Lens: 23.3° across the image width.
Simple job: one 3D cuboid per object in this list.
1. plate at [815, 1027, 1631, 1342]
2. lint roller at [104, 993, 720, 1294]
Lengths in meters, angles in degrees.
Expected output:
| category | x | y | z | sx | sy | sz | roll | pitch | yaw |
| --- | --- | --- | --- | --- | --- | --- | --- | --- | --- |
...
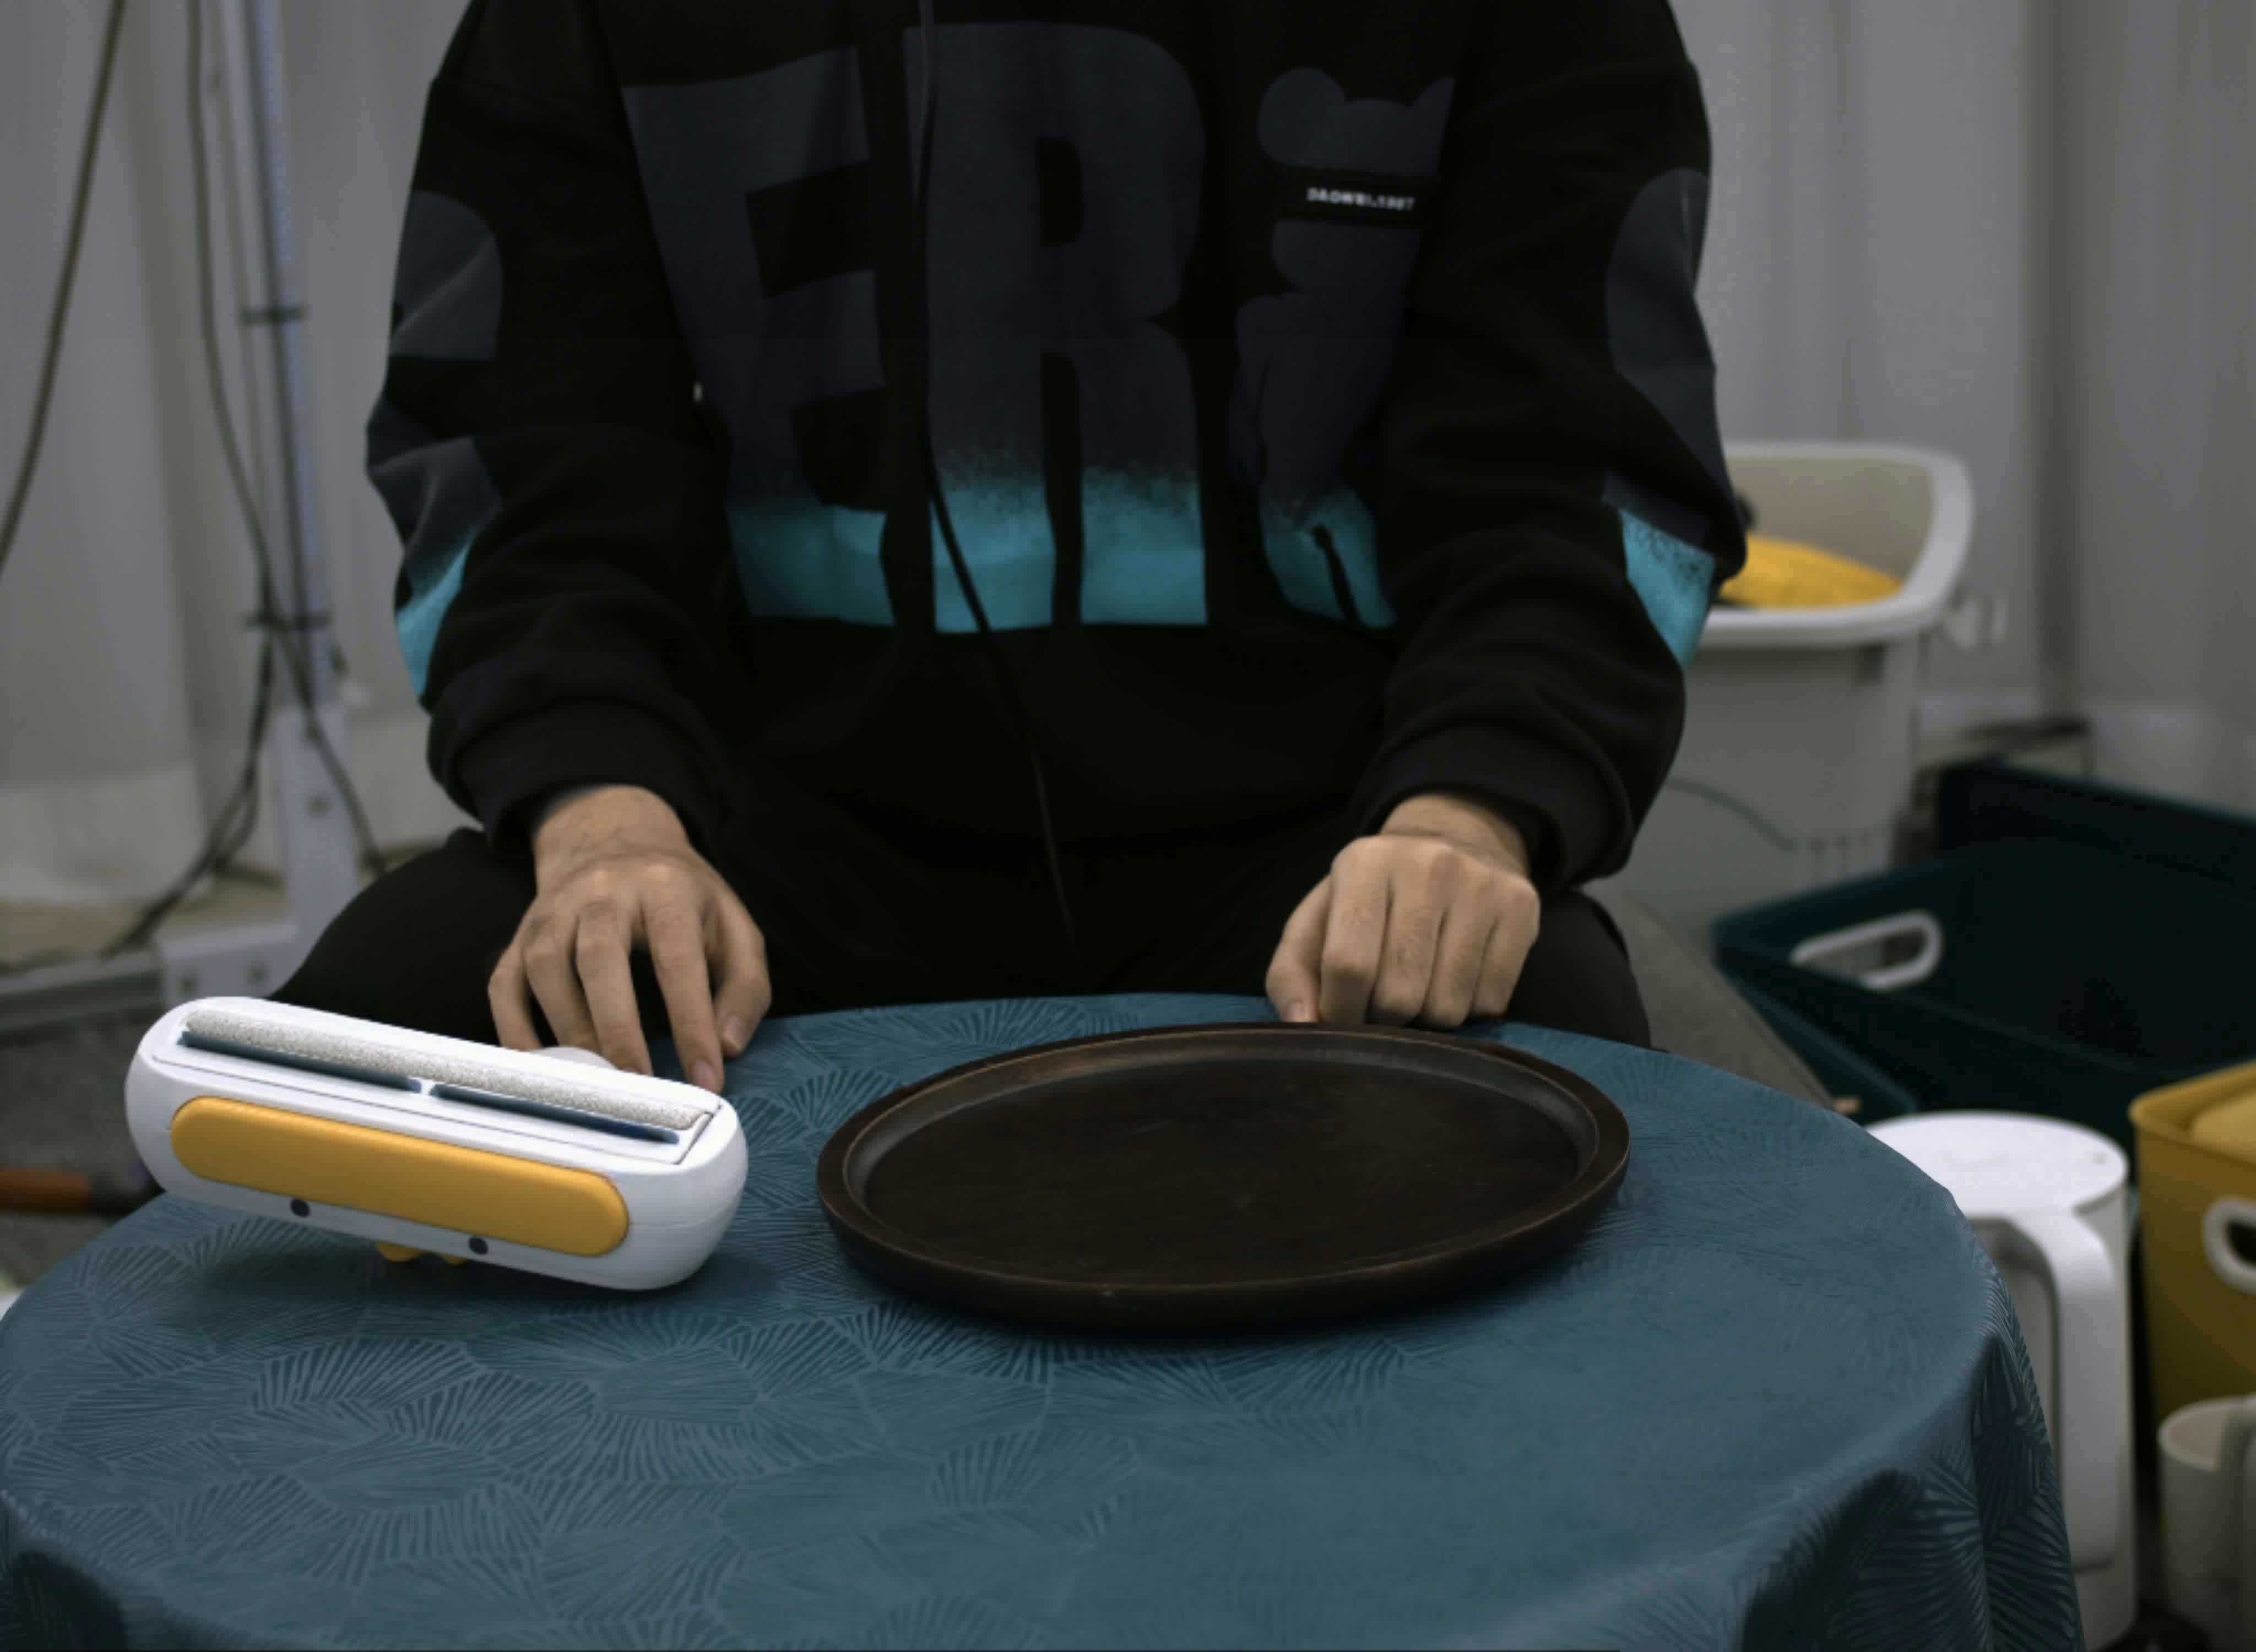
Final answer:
| category | x | y | z | sx | sy | sz | roll | pitch | yaw |
| --- | --- | --- | --- | --- | --- | --- | --- | --- | --- |
| plate | 0.029 | 0.109 | 1.688 | 0.254 | 0.029 | 0.256 | -3 | 14 | 0 |
| lint roller | -0.201 | 0.089 | 1.723 | 0.193 | 0.074 | 0.193 | 7 | 16 | 16 |
